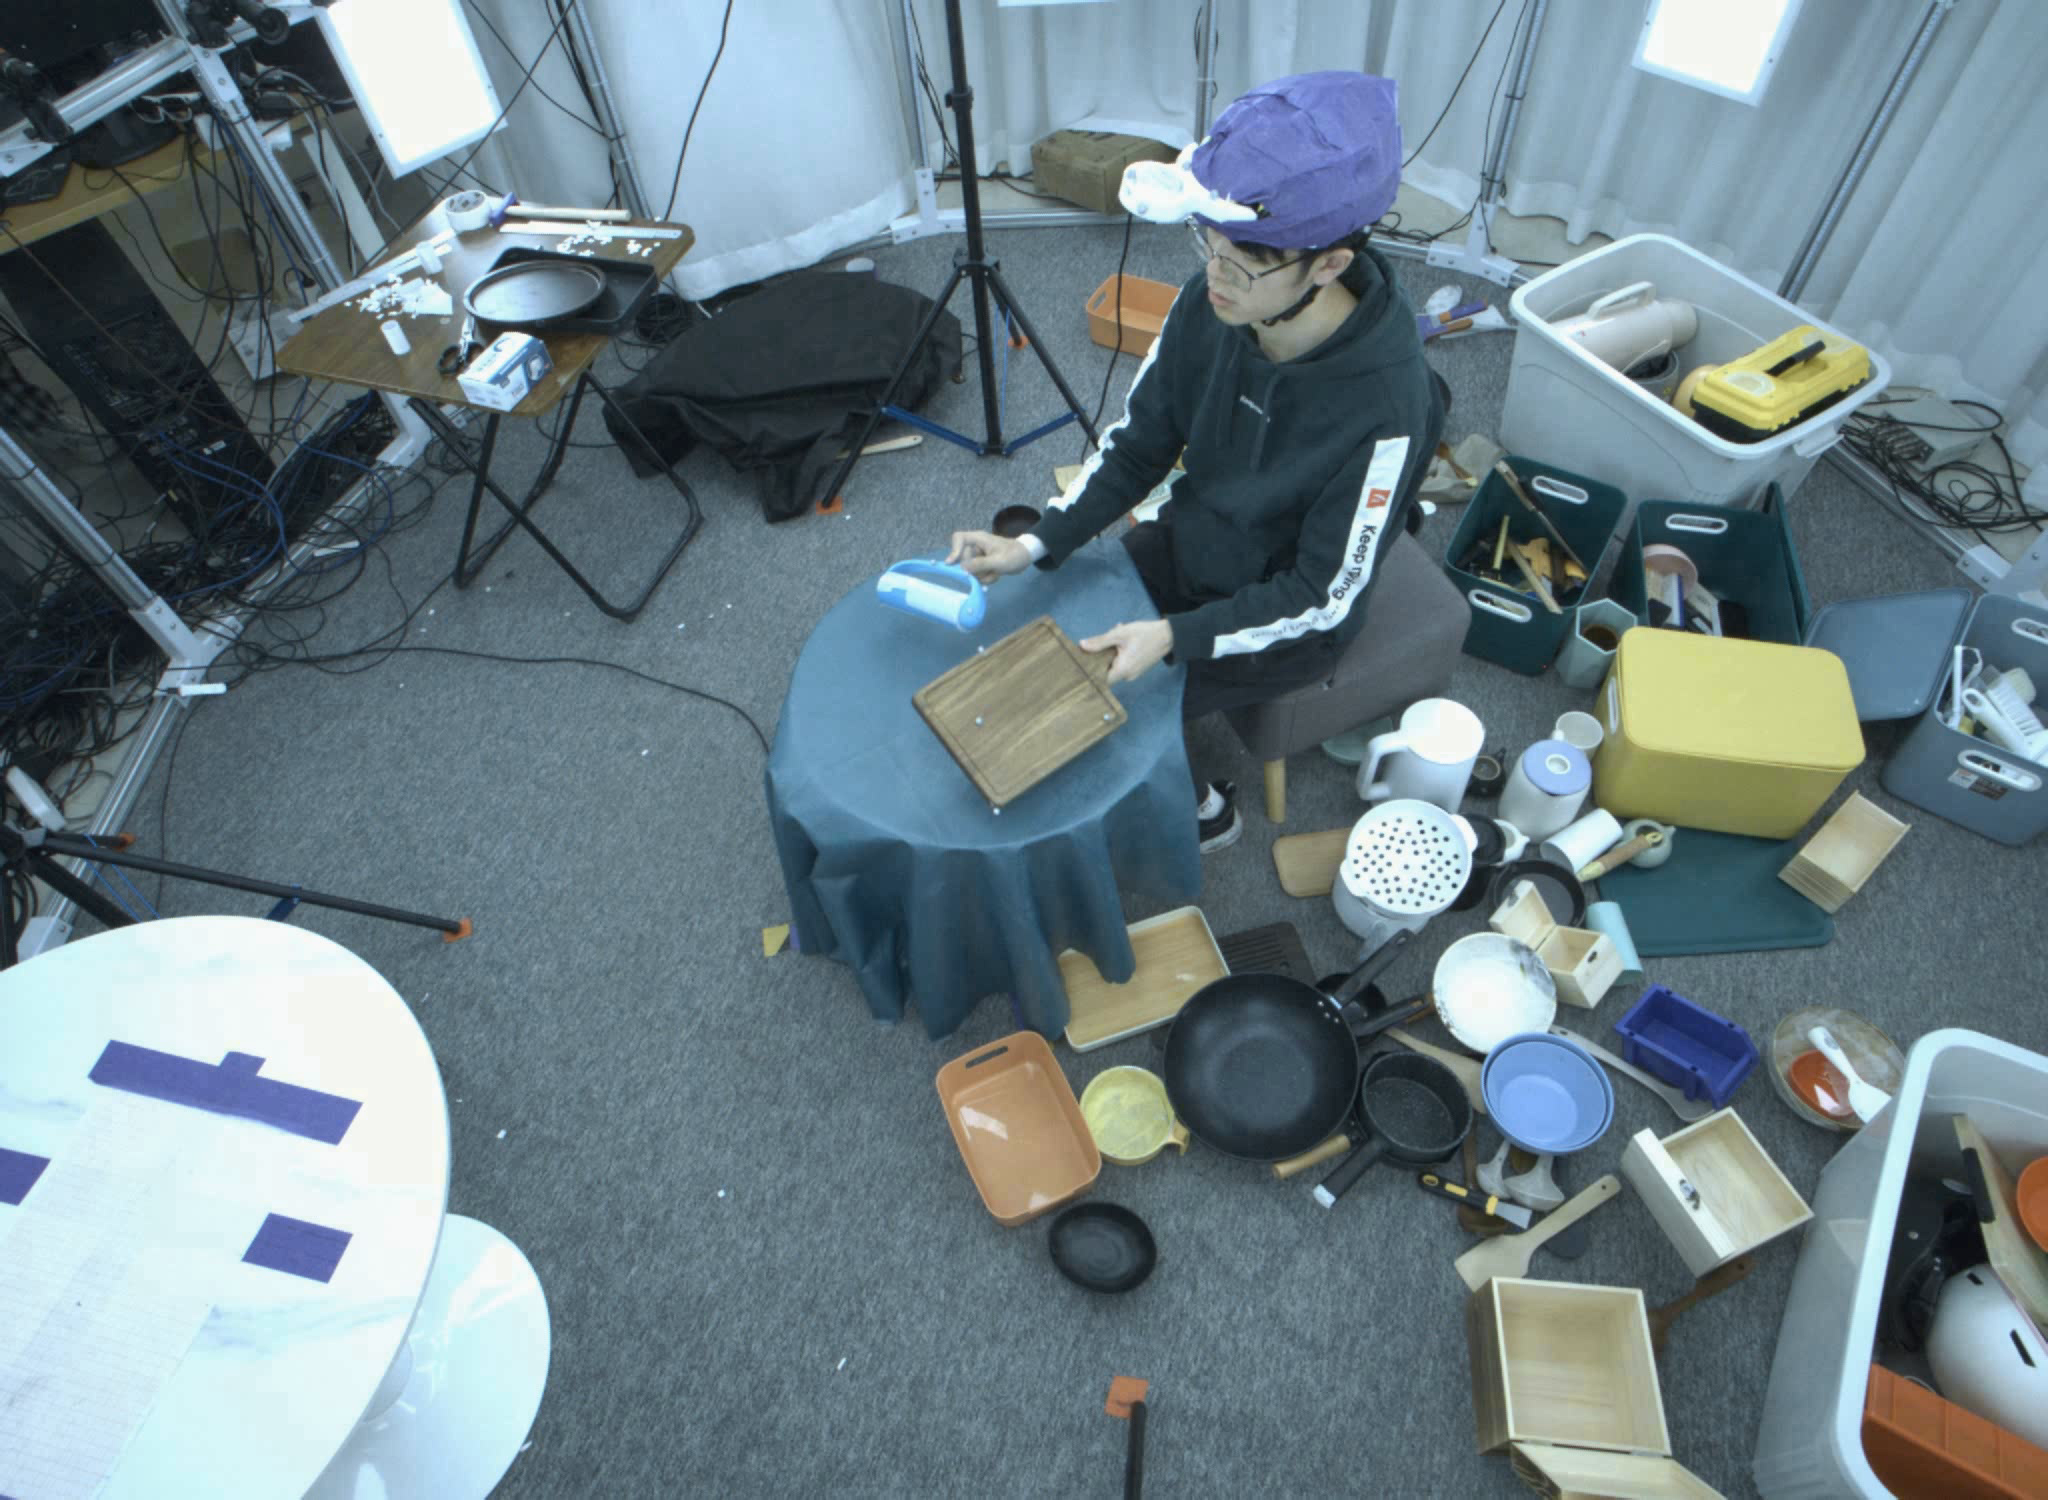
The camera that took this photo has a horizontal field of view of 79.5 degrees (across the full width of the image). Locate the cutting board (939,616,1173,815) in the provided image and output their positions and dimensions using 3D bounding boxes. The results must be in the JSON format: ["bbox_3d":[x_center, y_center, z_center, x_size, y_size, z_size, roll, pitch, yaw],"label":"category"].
[{"bbox_3d":[0.075,-0.076,1.708,0.355,0.023,0.200,-33,83,-26],"label":"cutting board"}]

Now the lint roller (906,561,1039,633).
[{"bbox_3d":[-0.055,-0.250,1.832,0.223,0.069,0.182,20,46,43],"label":"lint roller"}]
